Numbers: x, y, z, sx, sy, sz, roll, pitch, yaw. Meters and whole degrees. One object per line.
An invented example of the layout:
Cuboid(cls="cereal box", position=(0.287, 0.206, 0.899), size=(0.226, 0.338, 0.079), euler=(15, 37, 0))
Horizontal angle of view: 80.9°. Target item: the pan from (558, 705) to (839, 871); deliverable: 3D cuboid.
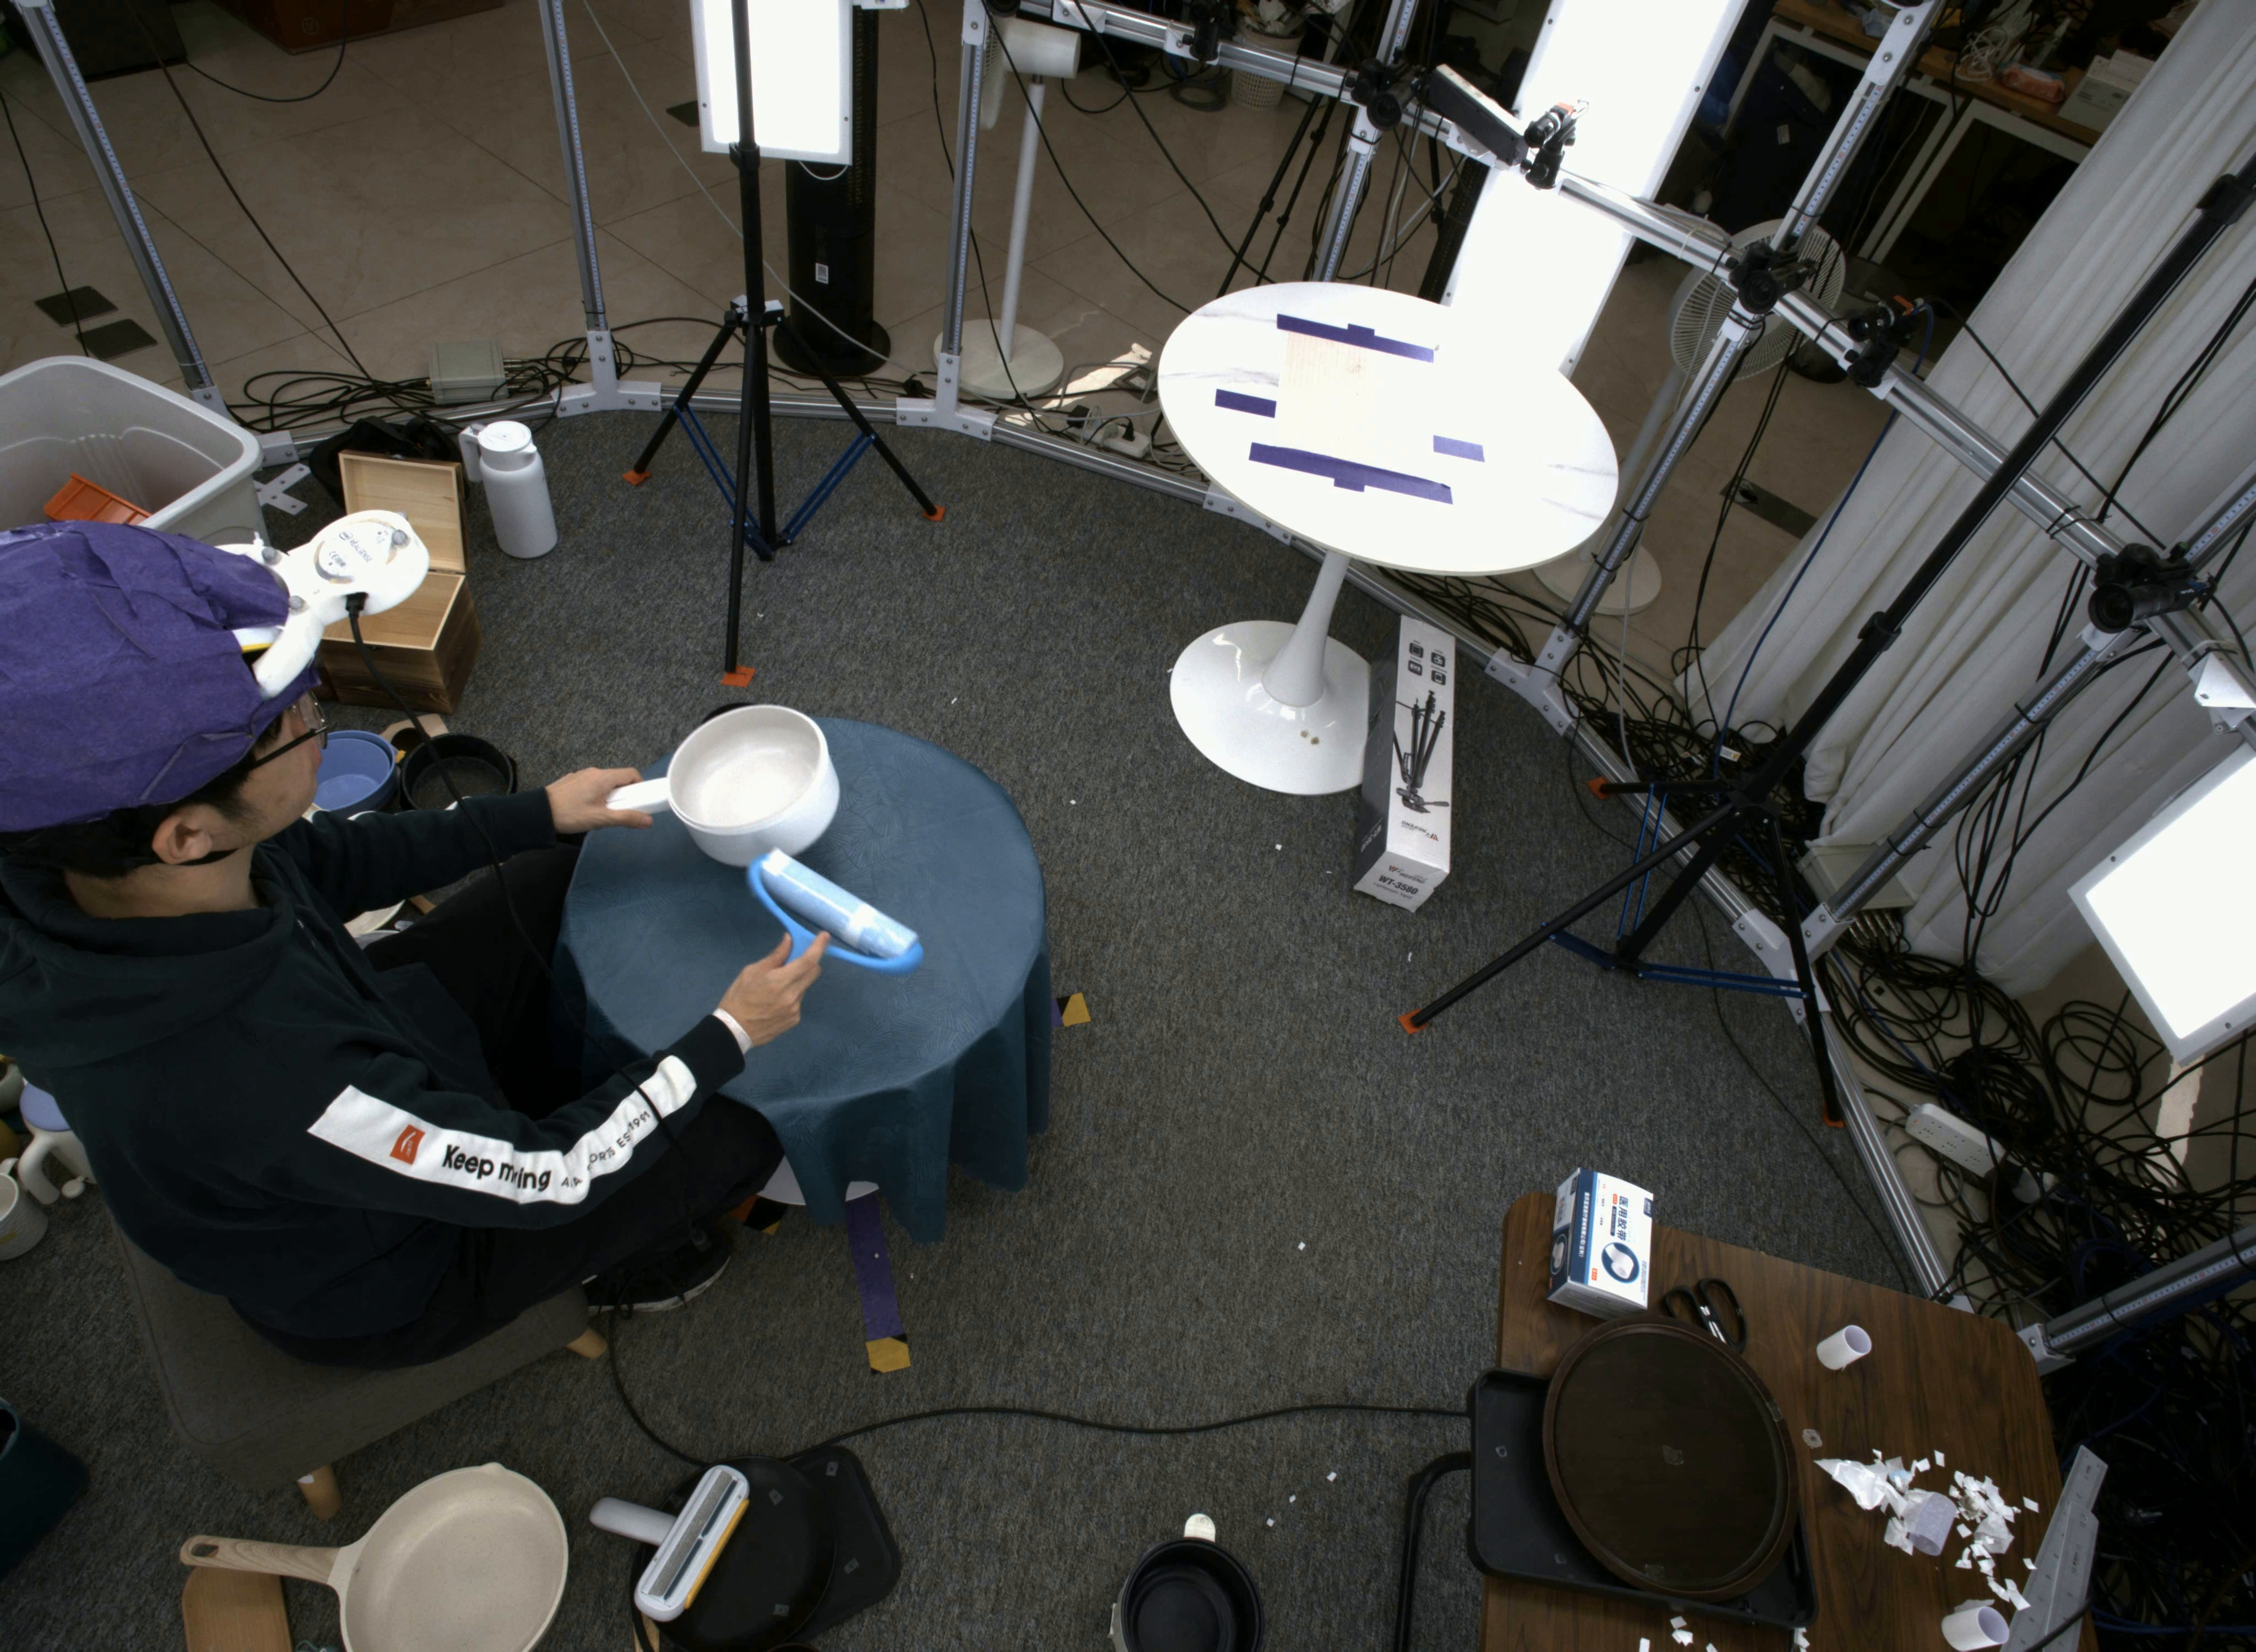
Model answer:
Cuboid(cls="pan", position=(-0.537, -0.028, 1.611), size=(0.352, 0.105, 0.196), euler=(-12, 56, -4))

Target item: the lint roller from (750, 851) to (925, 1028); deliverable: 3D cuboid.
Cuboid(cls="lint roller", position=(-0.363, 0.145, 1.487), size=(0.228, 0.068, 0.179), euler=(30, 64, -2))
